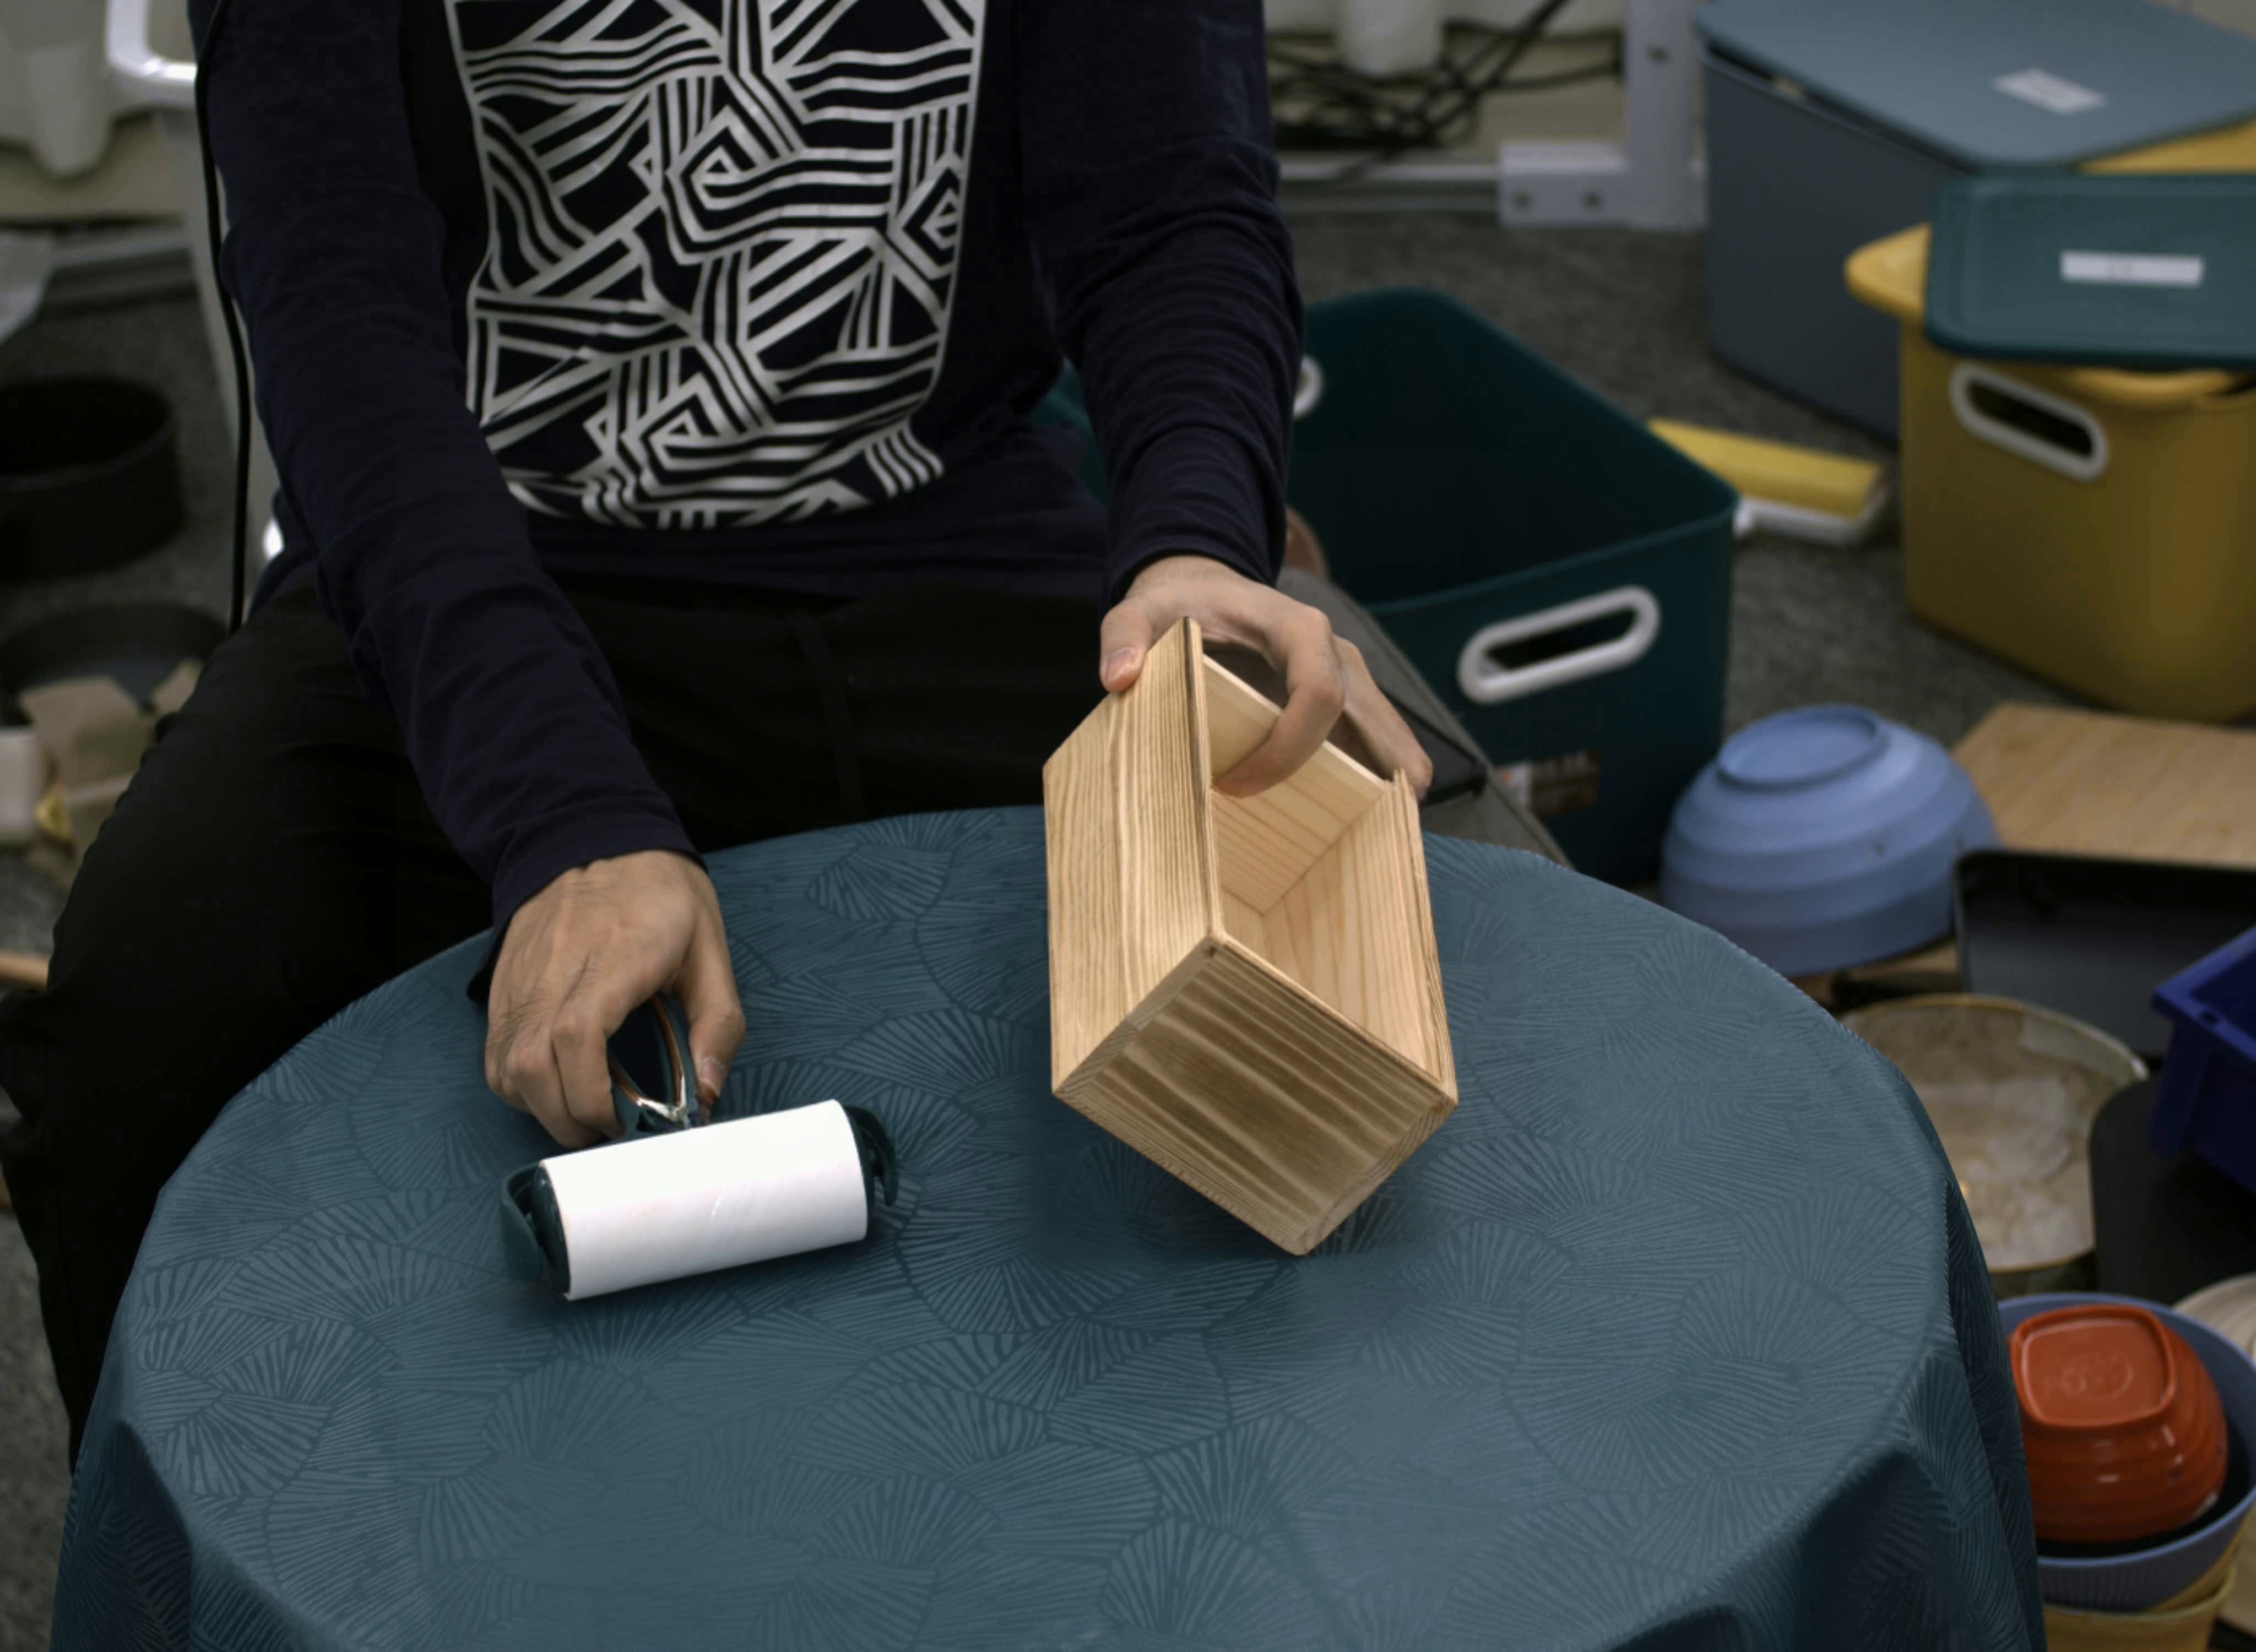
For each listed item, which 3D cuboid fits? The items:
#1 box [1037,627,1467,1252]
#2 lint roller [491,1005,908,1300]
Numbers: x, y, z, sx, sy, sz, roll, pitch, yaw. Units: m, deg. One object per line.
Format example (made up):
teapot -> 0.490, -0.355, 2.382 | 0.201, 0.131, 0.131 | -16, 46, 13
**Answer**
box -> 0.038, 0.035, 1.878 | 0.107, 0.079, 0.214 | 33, 22, -19
lint roller -> -0.159, 0.089, 1.877 | 0.134, 0.048, 0.182 | -11, 31, -15
